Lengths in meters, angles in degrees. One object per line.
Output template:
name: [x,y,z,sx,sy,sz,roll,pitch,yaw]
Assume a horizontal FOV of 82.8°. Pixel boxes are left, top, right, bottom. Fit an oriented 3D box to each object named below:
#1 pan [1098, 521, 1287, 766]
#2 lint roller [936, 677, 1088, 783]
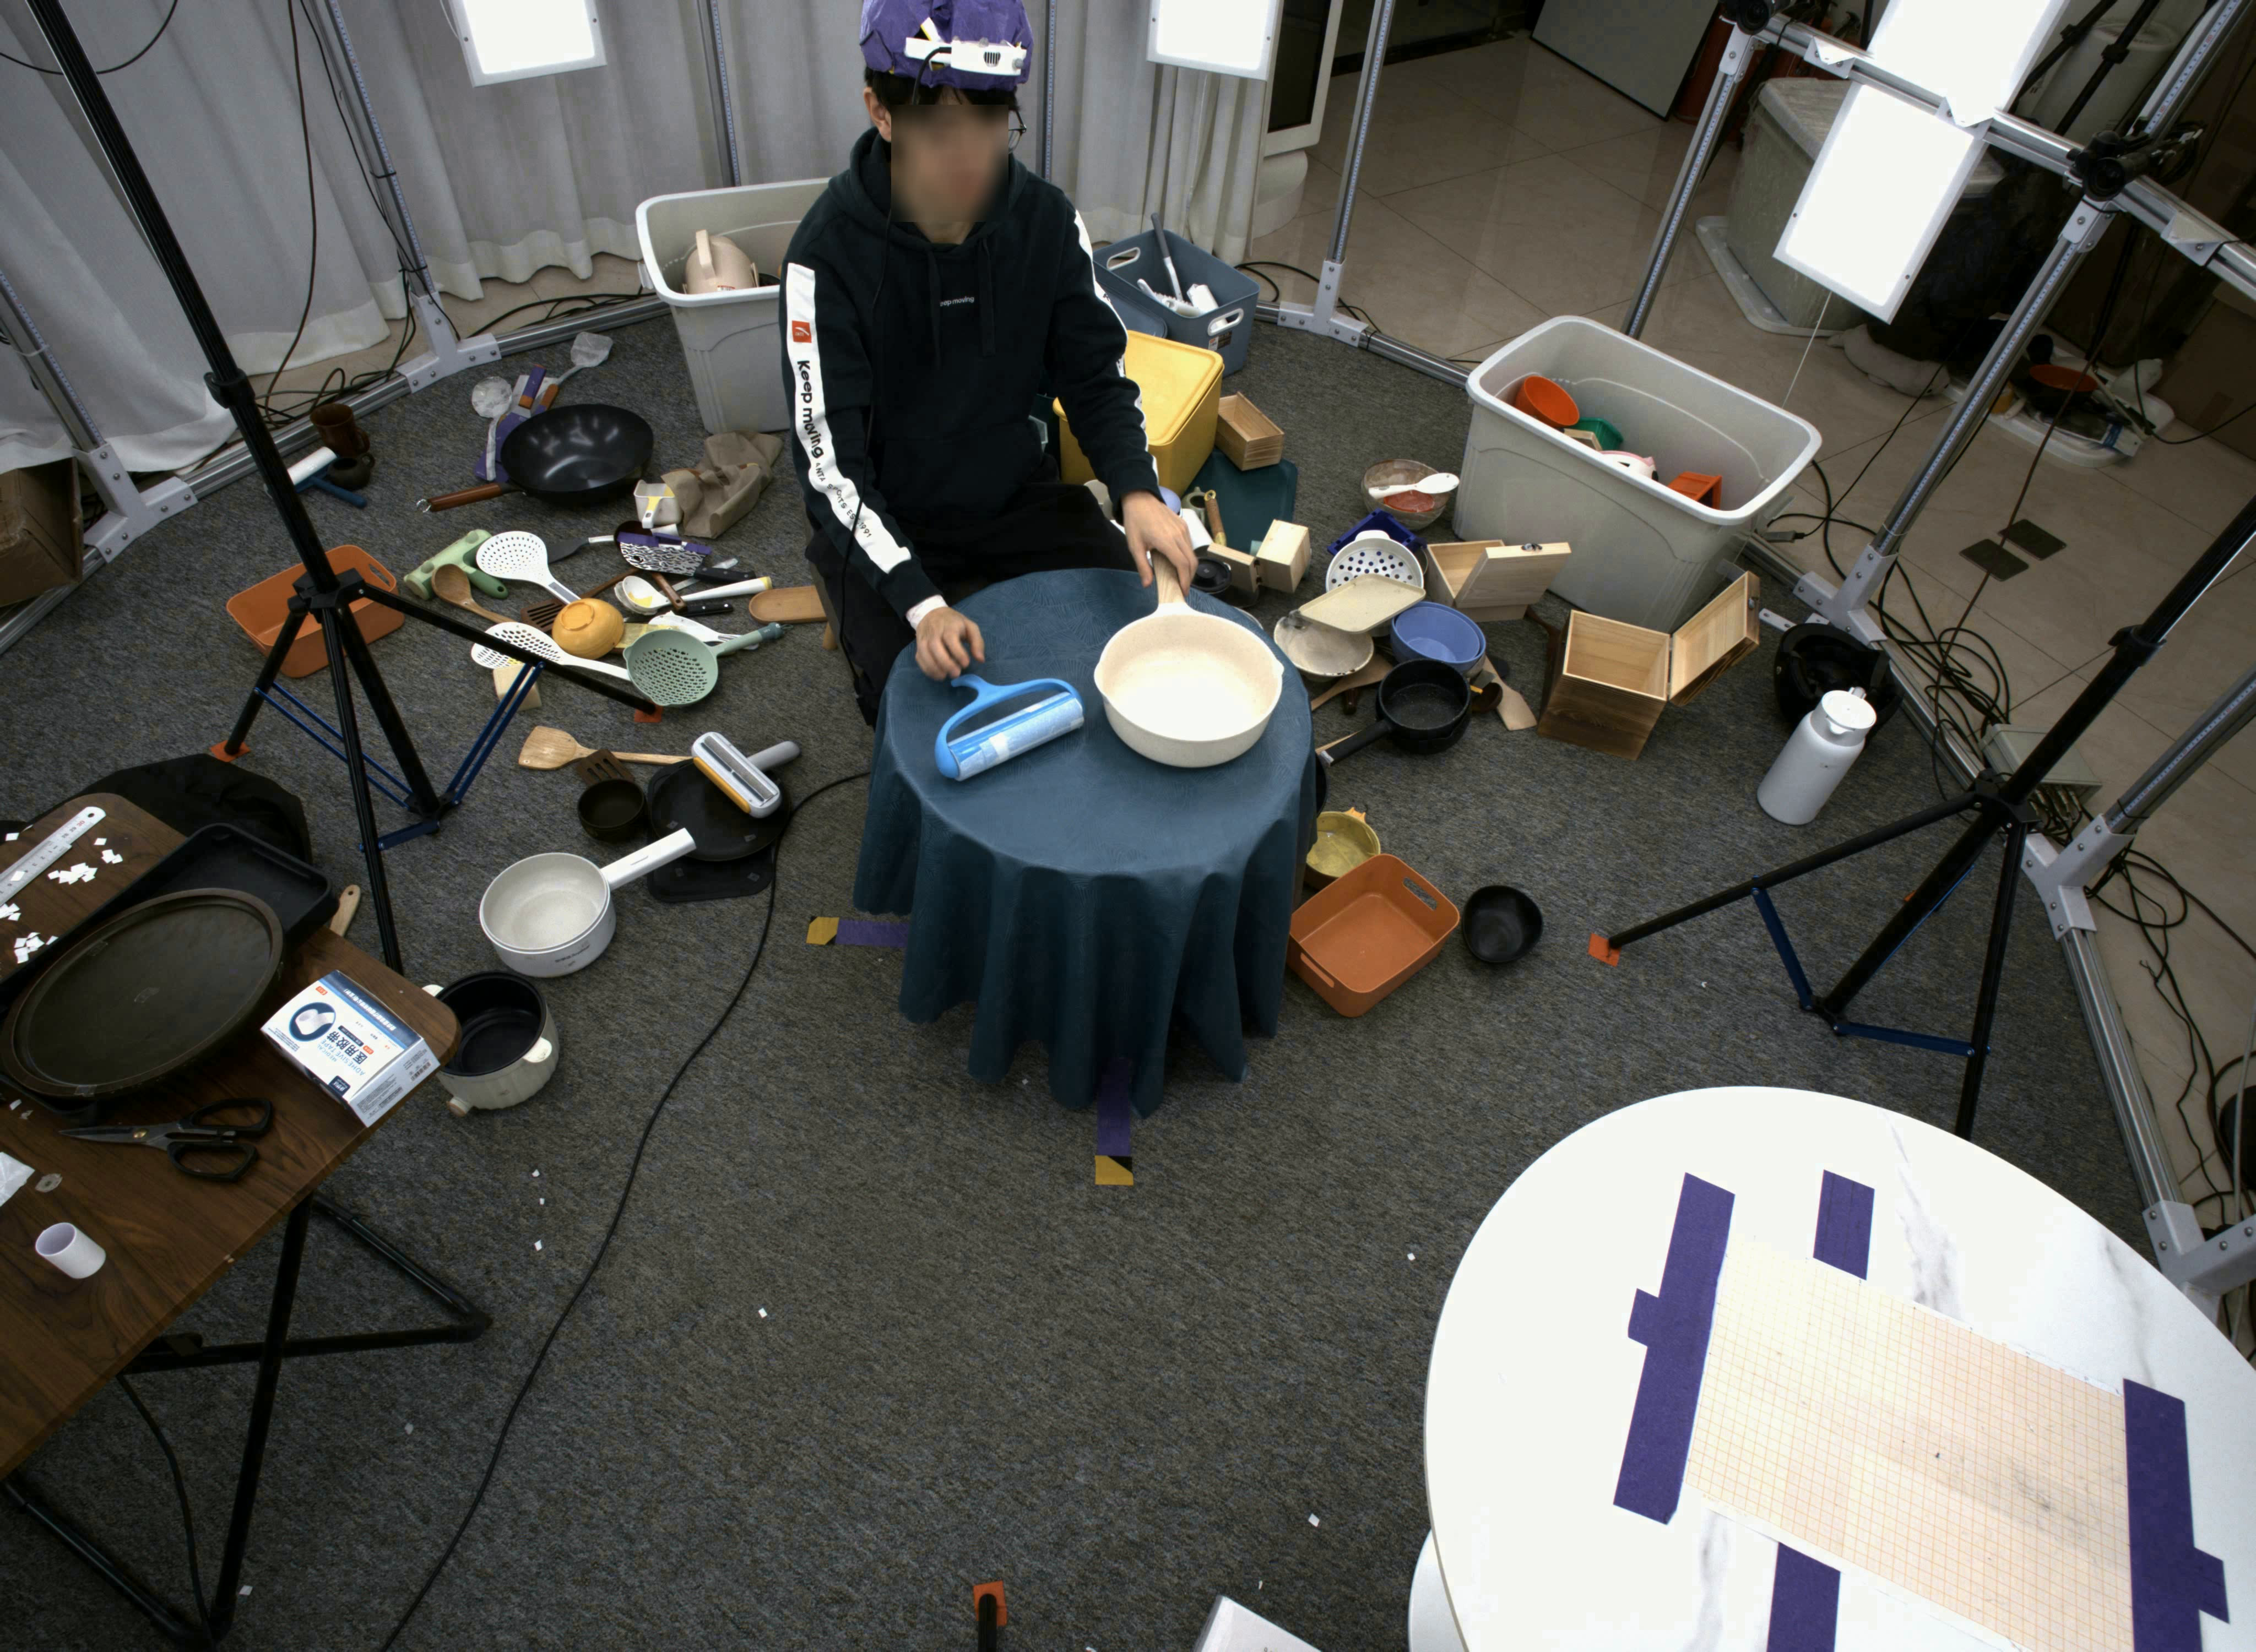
pan: [0.072,-0.261,1.834,0.263,0.099,0.446,-6,50,-7]
lint roller: [-0.189,-0.160,1.758,0.230,0.066,0.183,-30,58,-25]
